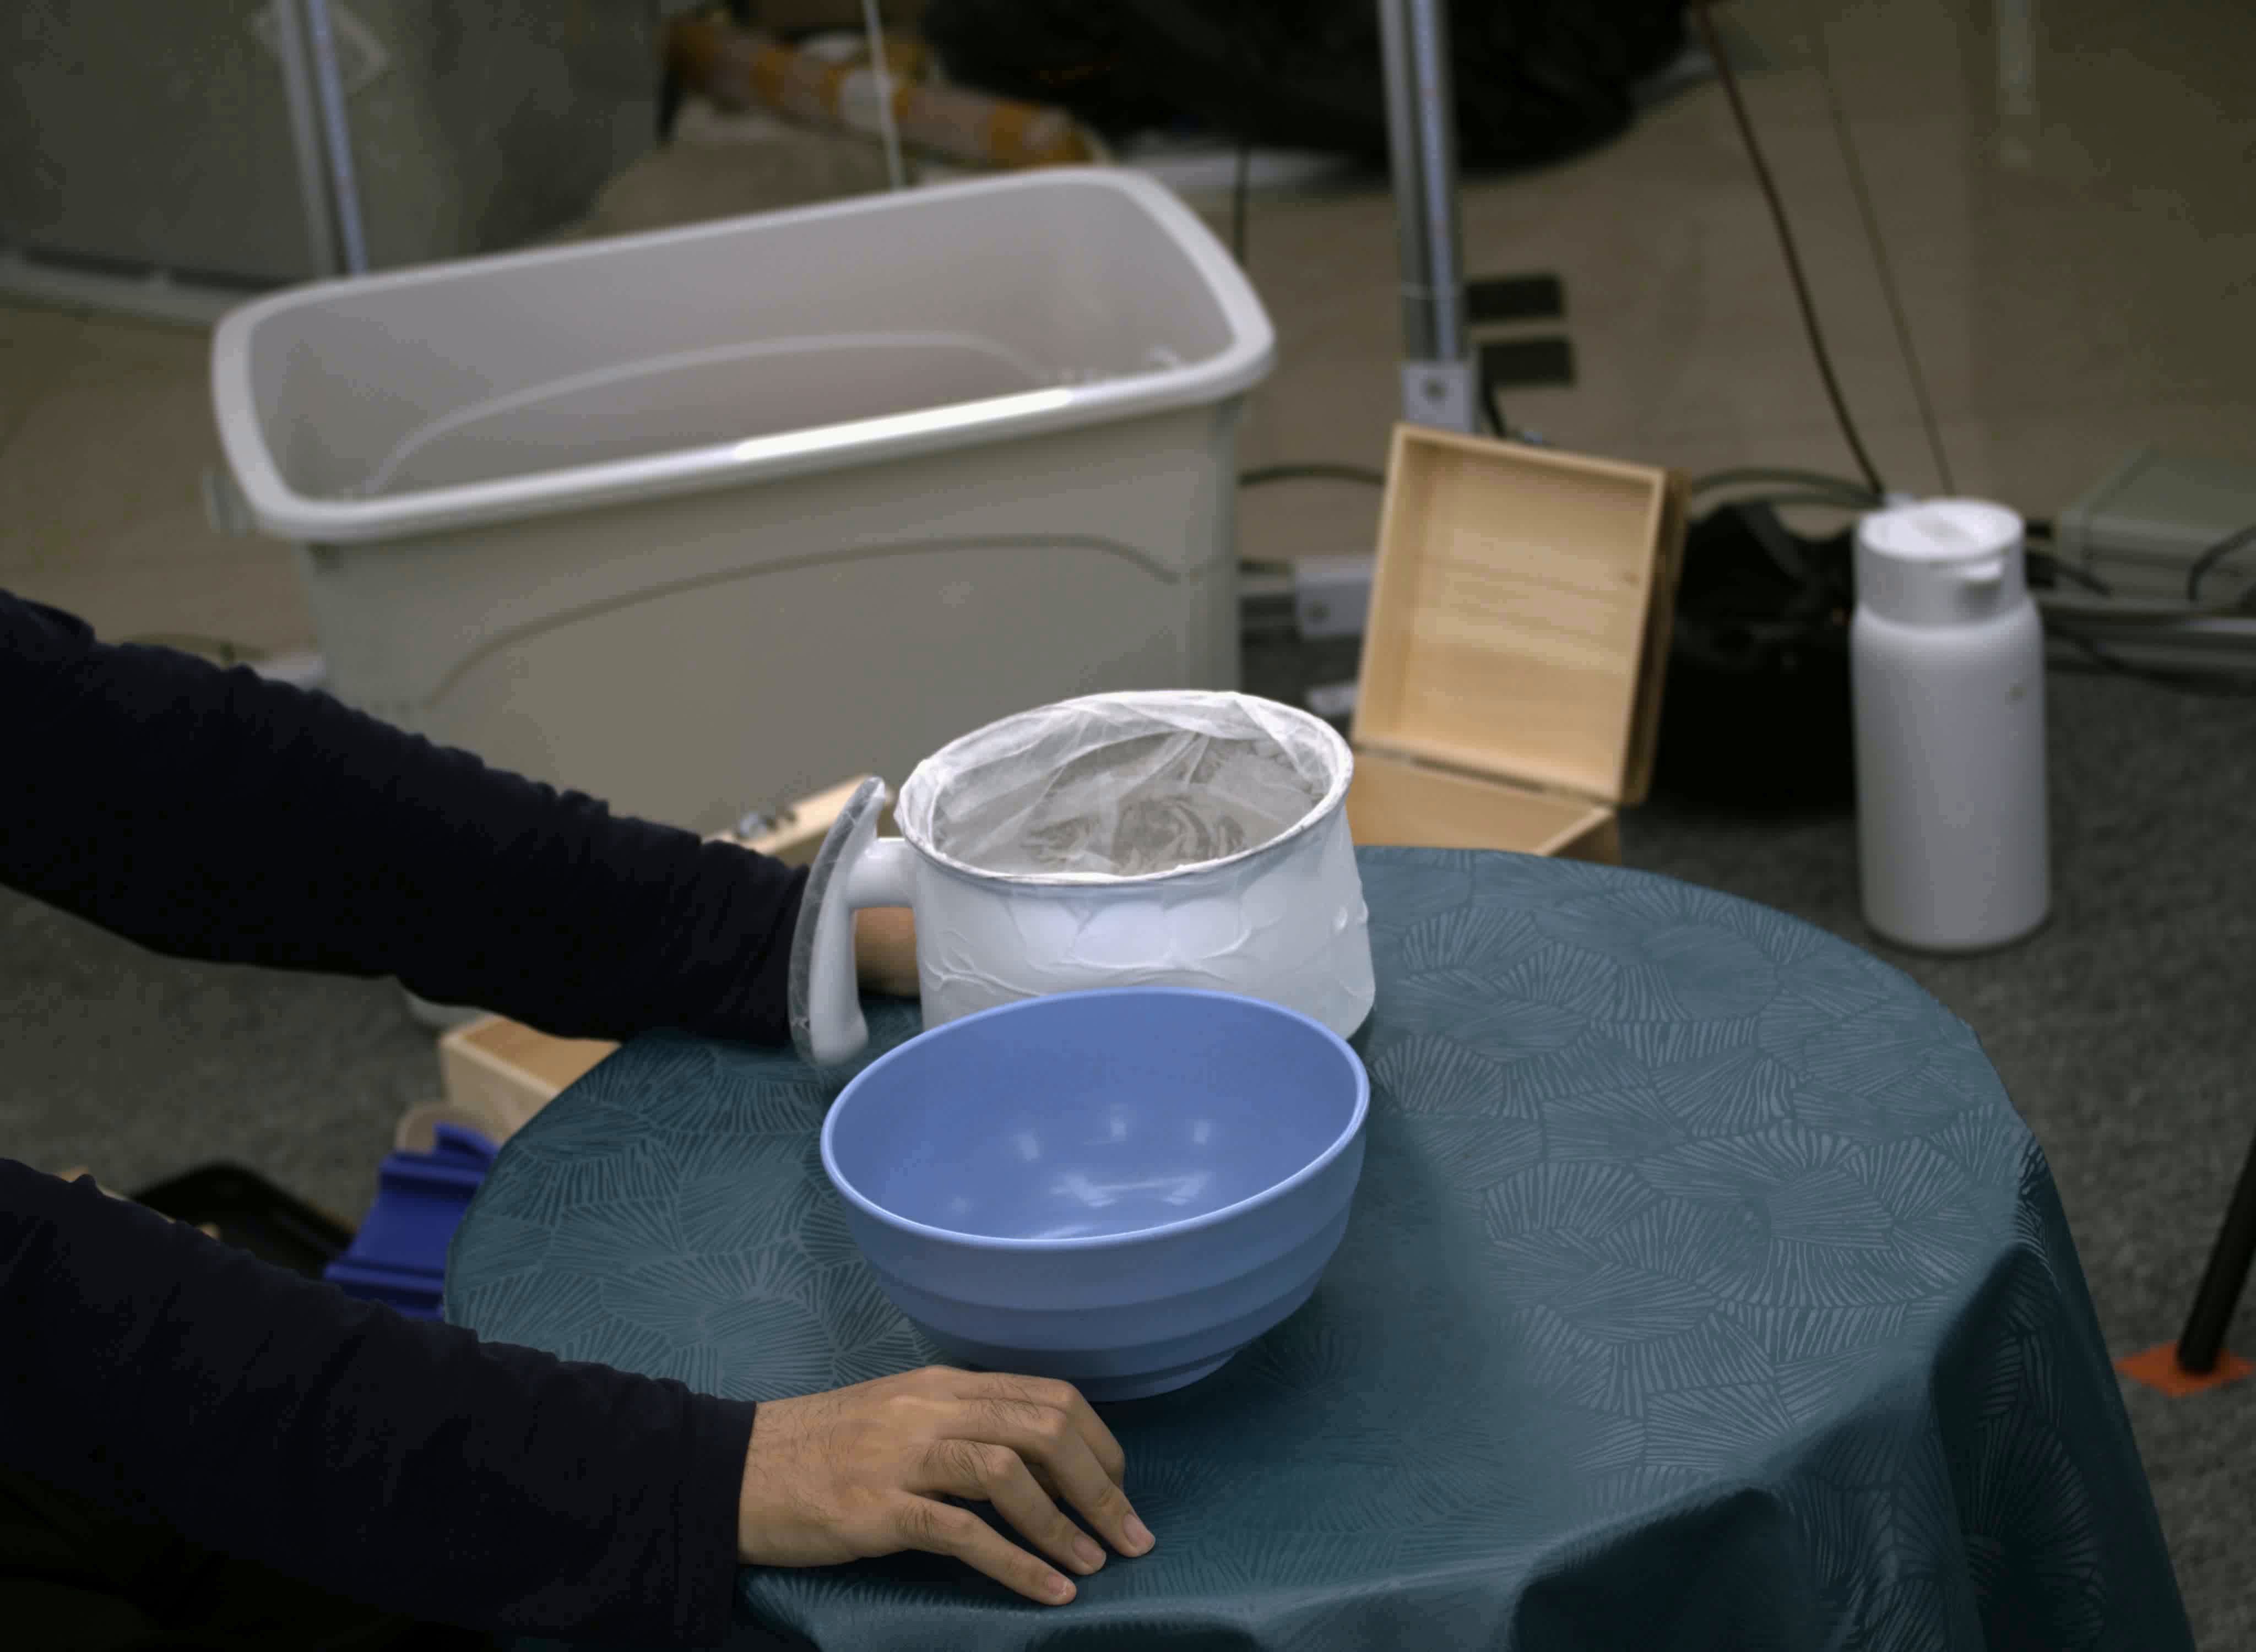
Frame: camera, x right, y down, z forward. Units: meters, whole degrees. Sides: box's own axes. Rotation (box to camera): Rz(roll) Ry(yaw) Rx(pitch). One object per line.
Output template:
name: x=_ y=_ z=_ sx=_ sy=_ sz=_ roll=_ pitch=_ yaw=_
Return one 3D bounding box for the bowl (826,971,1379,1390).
bowl: x=-0.008 y=0.138 z=2.031 sx=0.196 sy=0.097 sz=0.193 roll=-2 pitch=27 yaw=1

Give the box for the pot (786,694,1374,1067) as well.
pot: x=-0.022 y=0.041 z=2.202 sx=0.233 sy=0.138 sz=0.176 roll=-1 pitch=23 yaw=9
